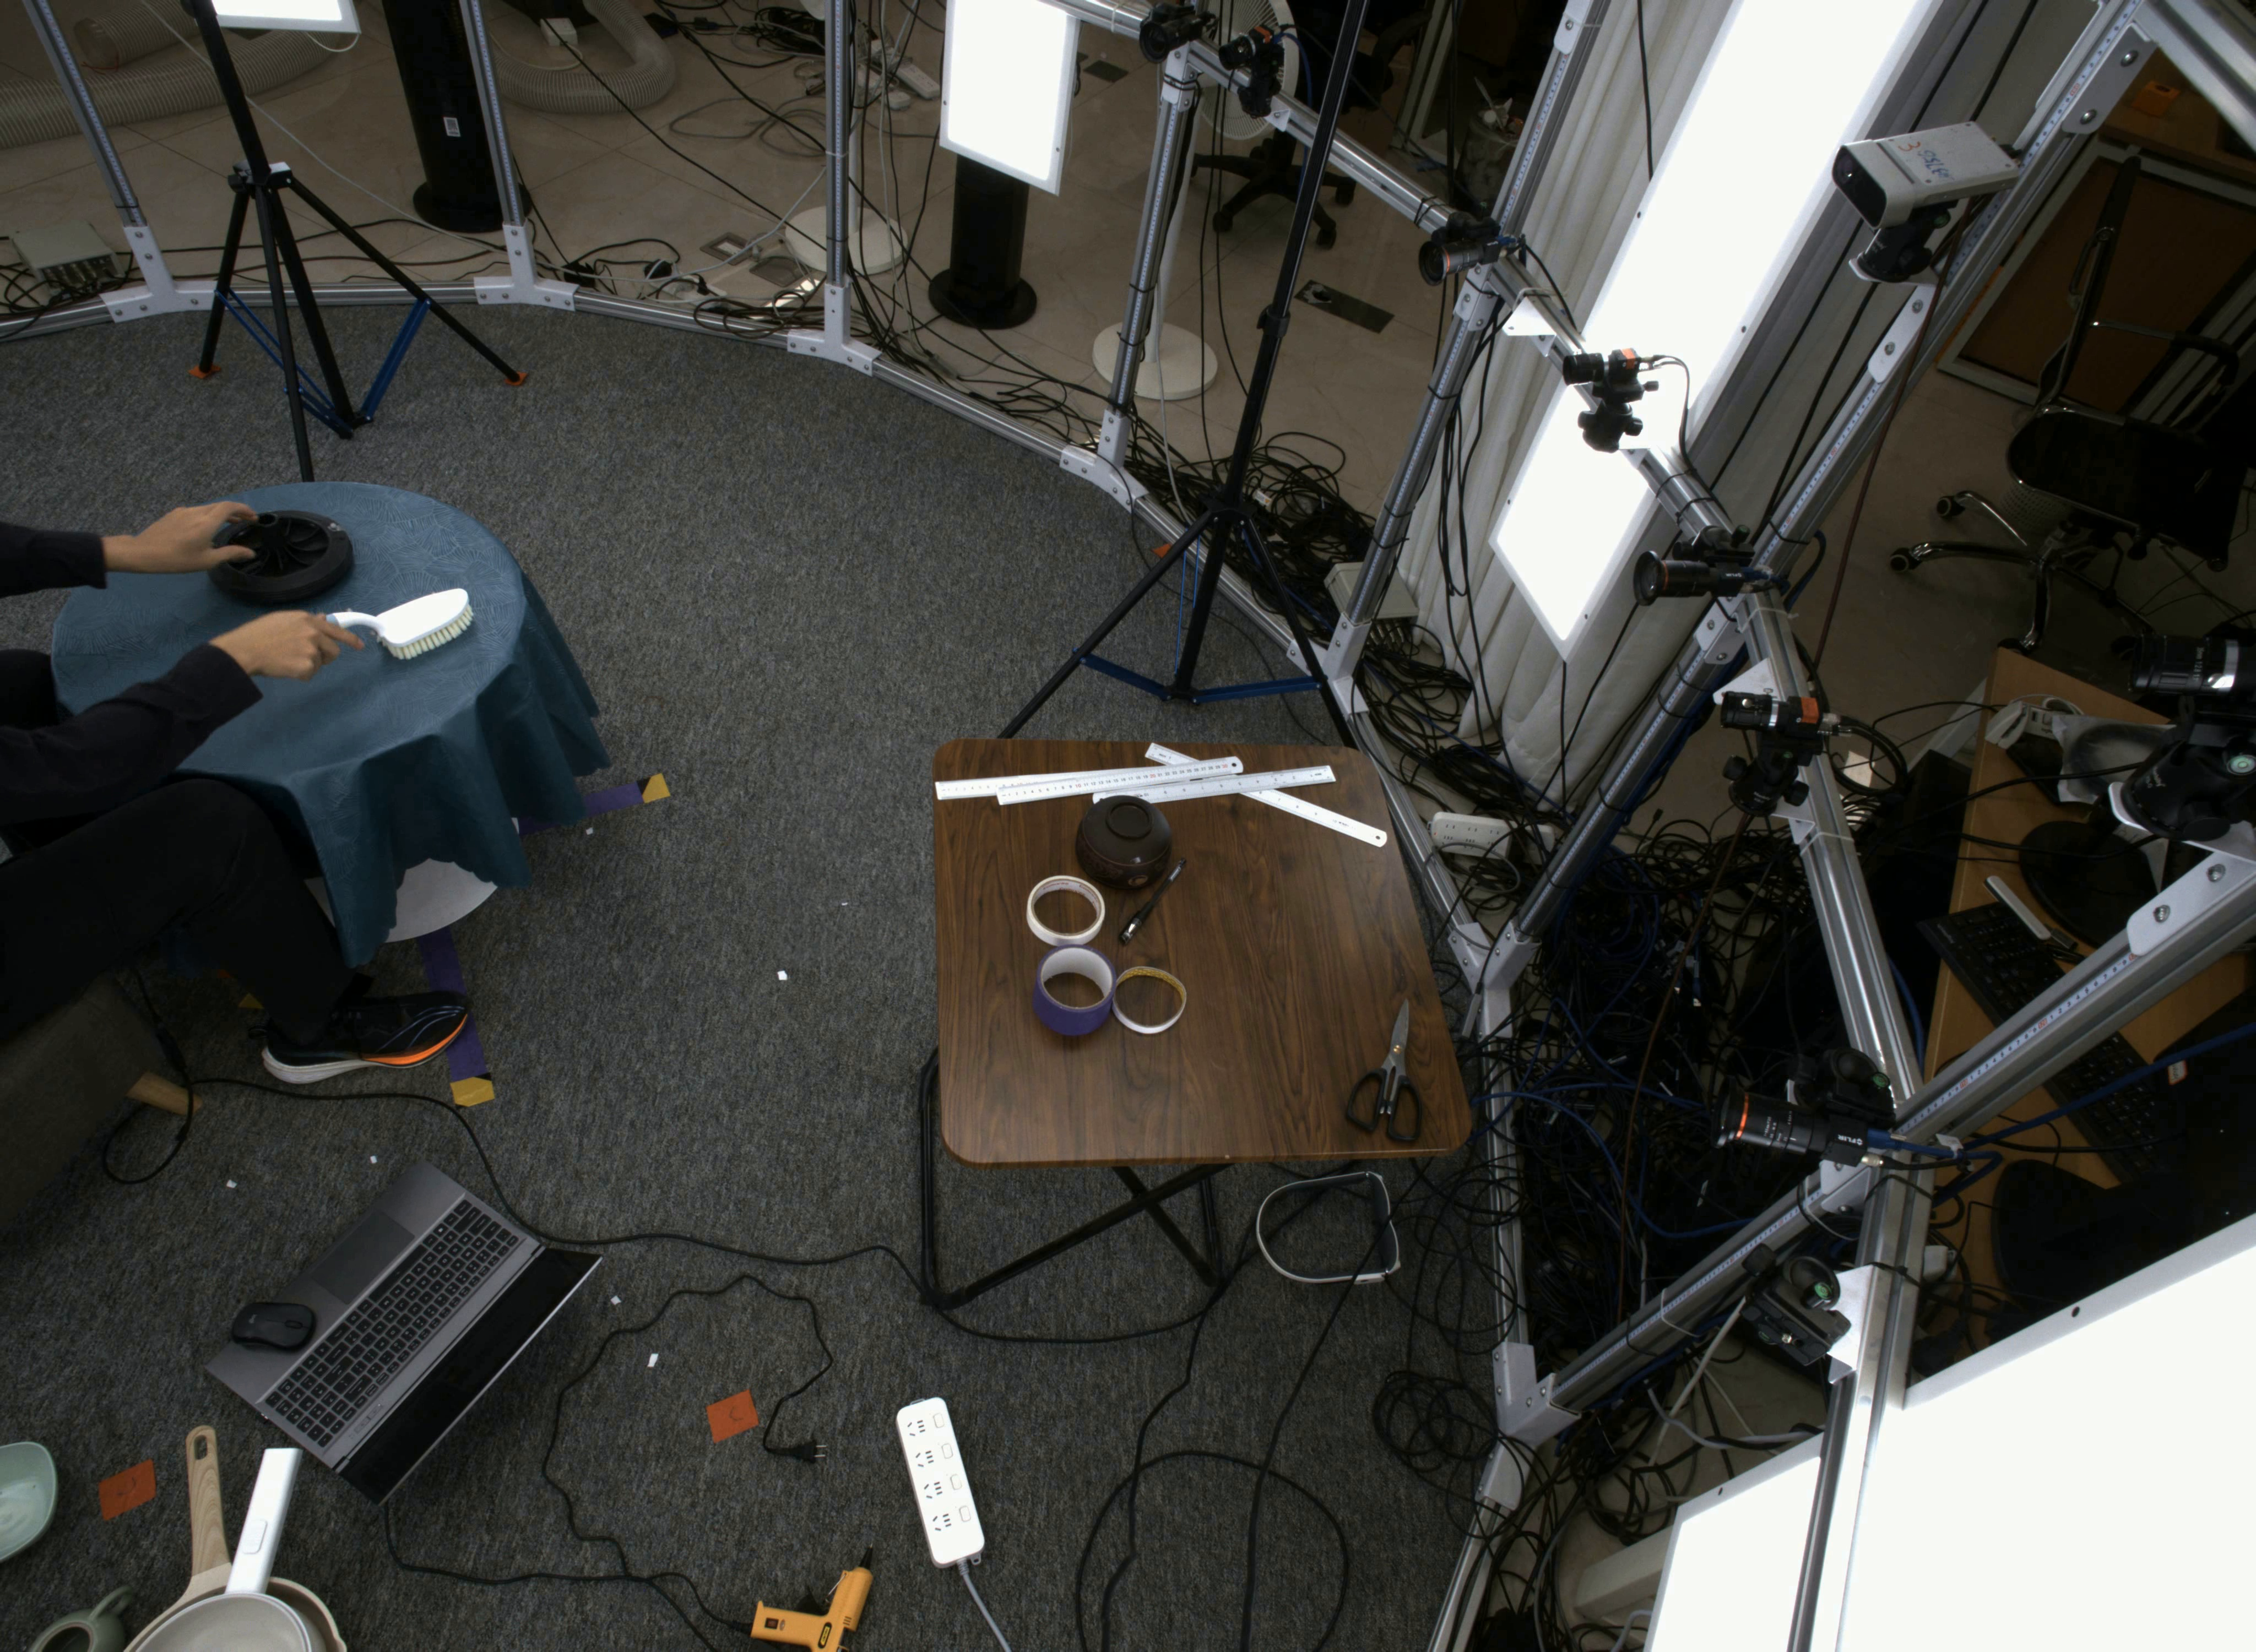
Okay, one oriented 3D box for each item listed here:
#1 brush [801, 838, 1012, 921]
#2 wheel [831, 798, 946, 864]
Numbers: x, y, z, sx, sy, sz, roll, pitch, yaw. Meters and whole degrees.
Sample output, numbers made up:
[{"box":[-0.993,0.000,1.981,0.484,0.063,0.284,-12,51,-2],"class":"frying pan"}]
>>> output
[{"box":[-0.332,0.090,1.943,0.329,0.084,0.082,12,-16,-21],"class":"brush"},{"box":[-0.393,-0.005,2.143,0.189,0.081,0.183,-3,25,-28],"class":"wheel"}]
